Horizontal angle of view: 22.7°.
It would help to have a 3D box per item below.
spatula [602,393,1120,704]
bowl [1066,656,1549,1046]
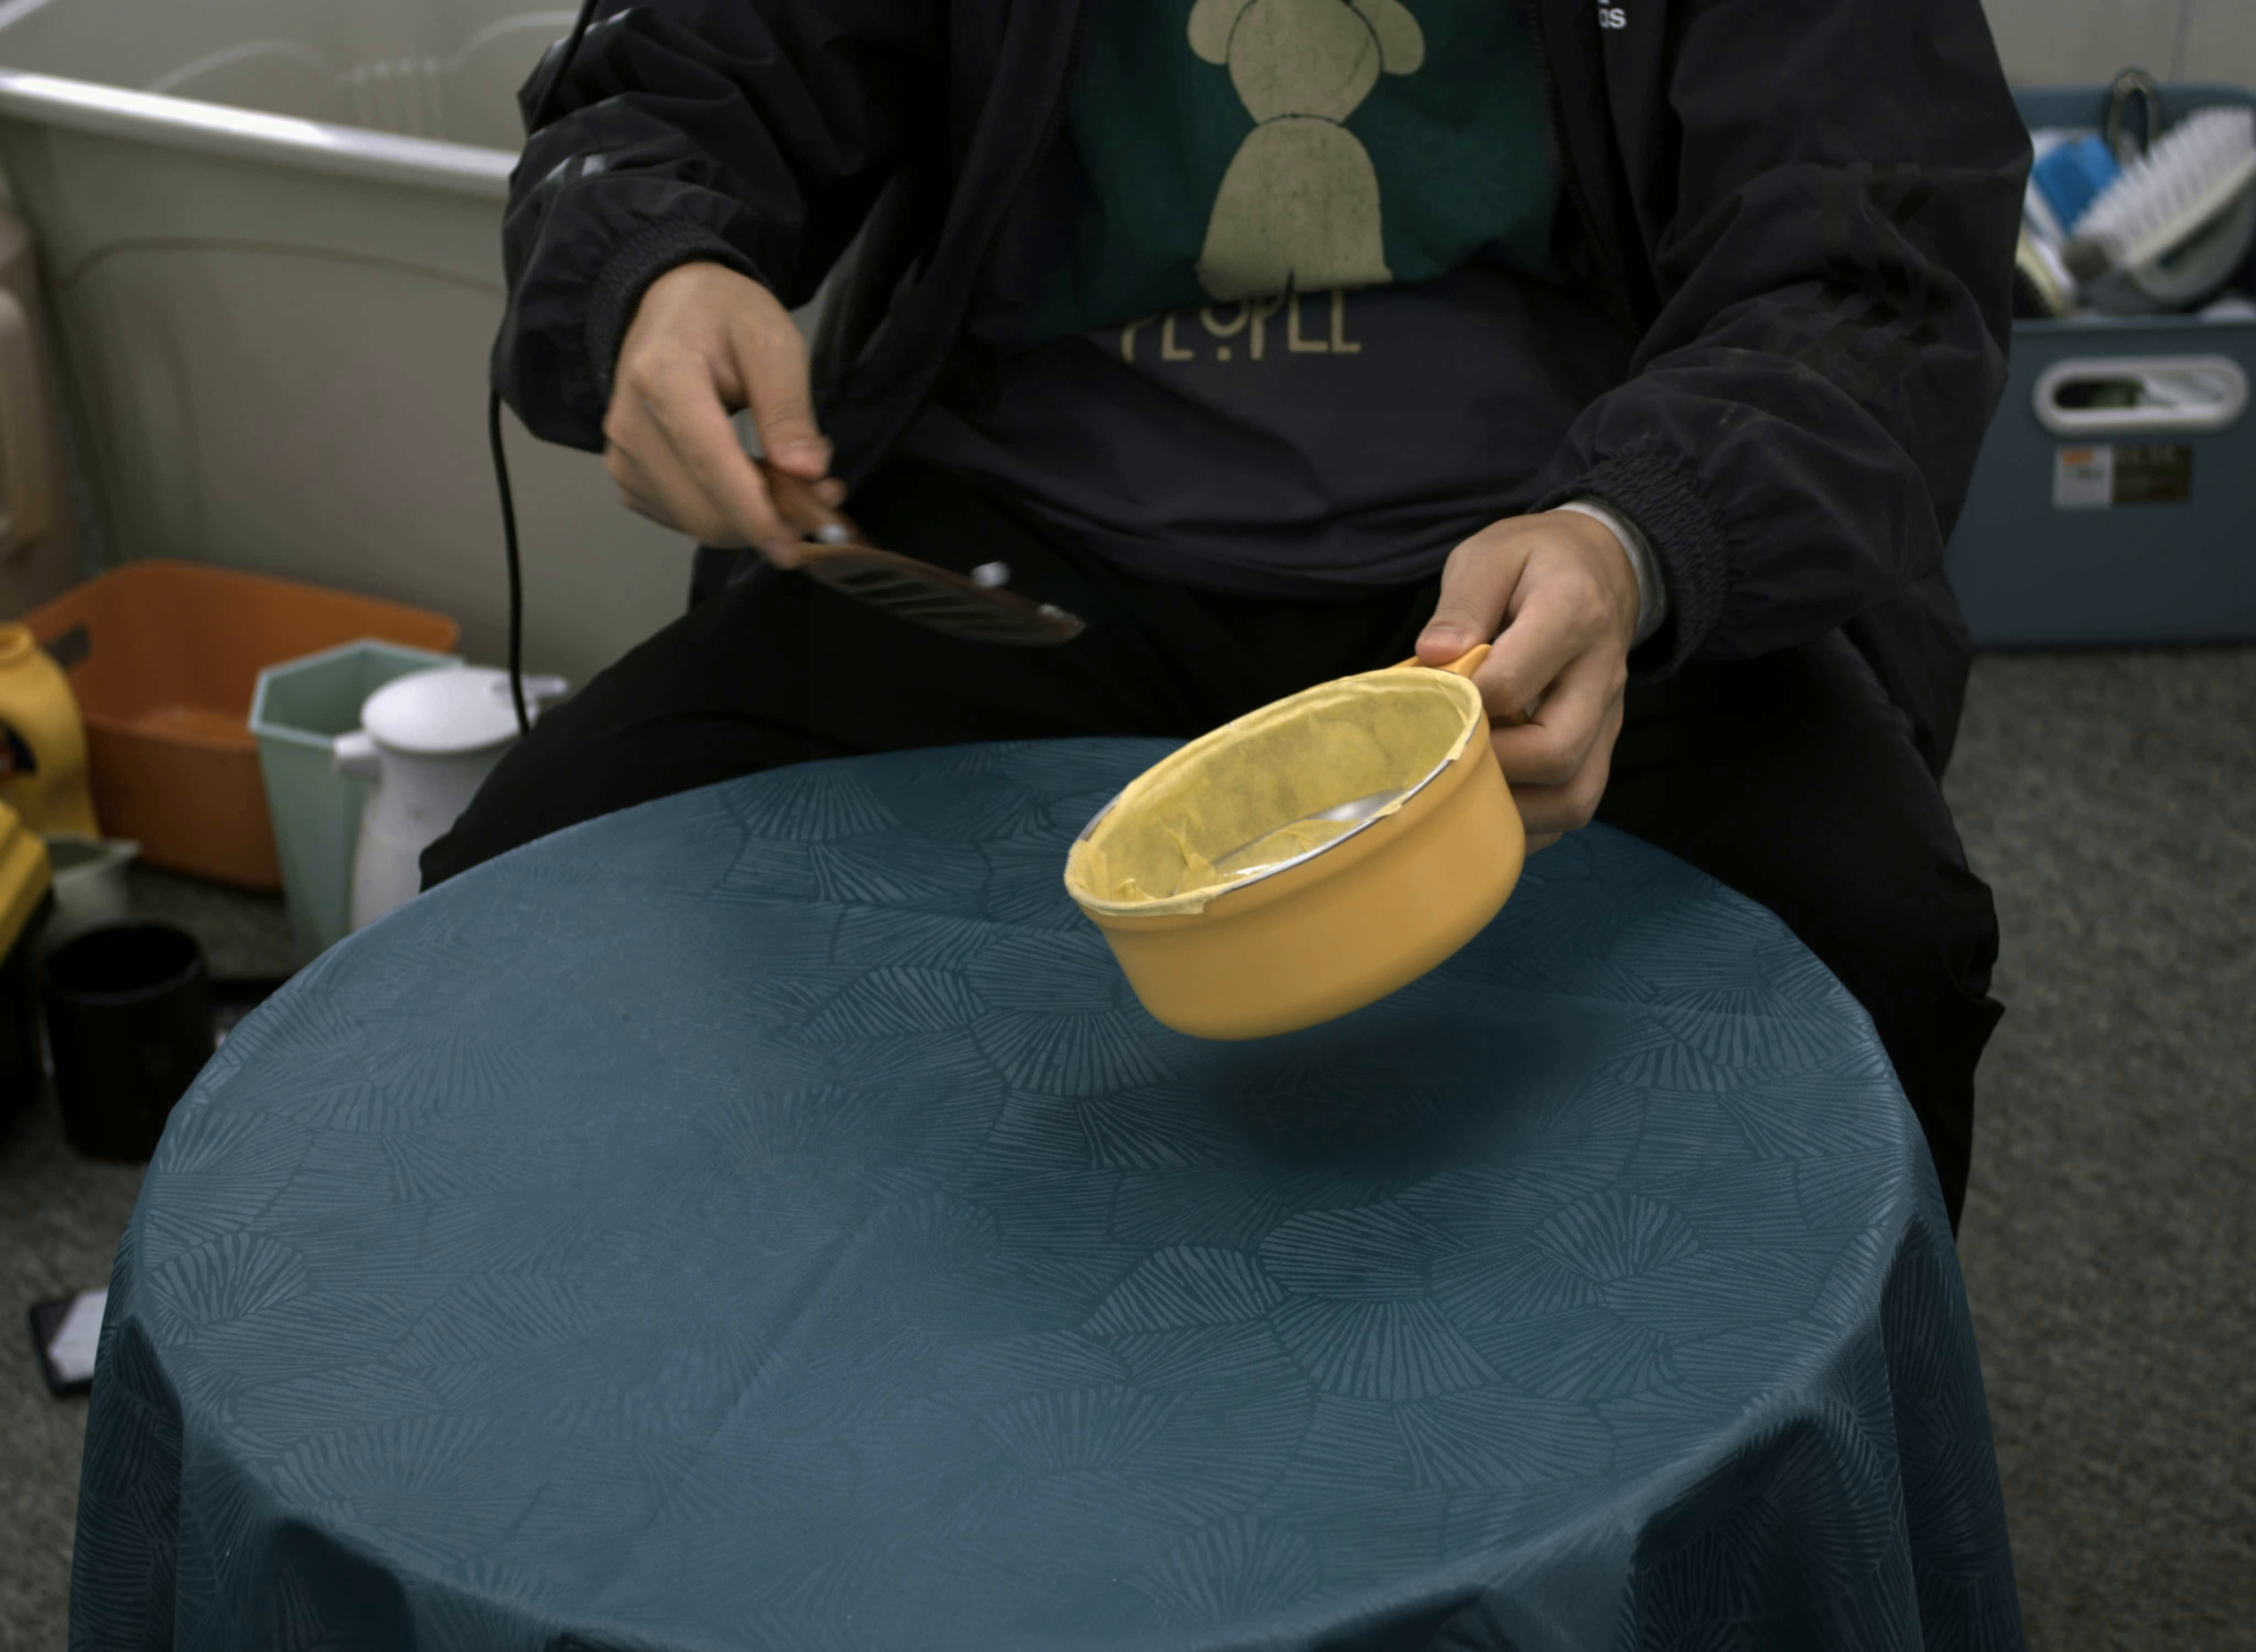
[{"bbox_3d":[-0.114,-0.102,1.984,0.085,0.024,0.388,26,5,-30],"label":"spatula"},{"bbox_3d":[0.071,0.008,1.887,0.151,0.074,0.182,-4,28,45],"label":"bowl"}]
